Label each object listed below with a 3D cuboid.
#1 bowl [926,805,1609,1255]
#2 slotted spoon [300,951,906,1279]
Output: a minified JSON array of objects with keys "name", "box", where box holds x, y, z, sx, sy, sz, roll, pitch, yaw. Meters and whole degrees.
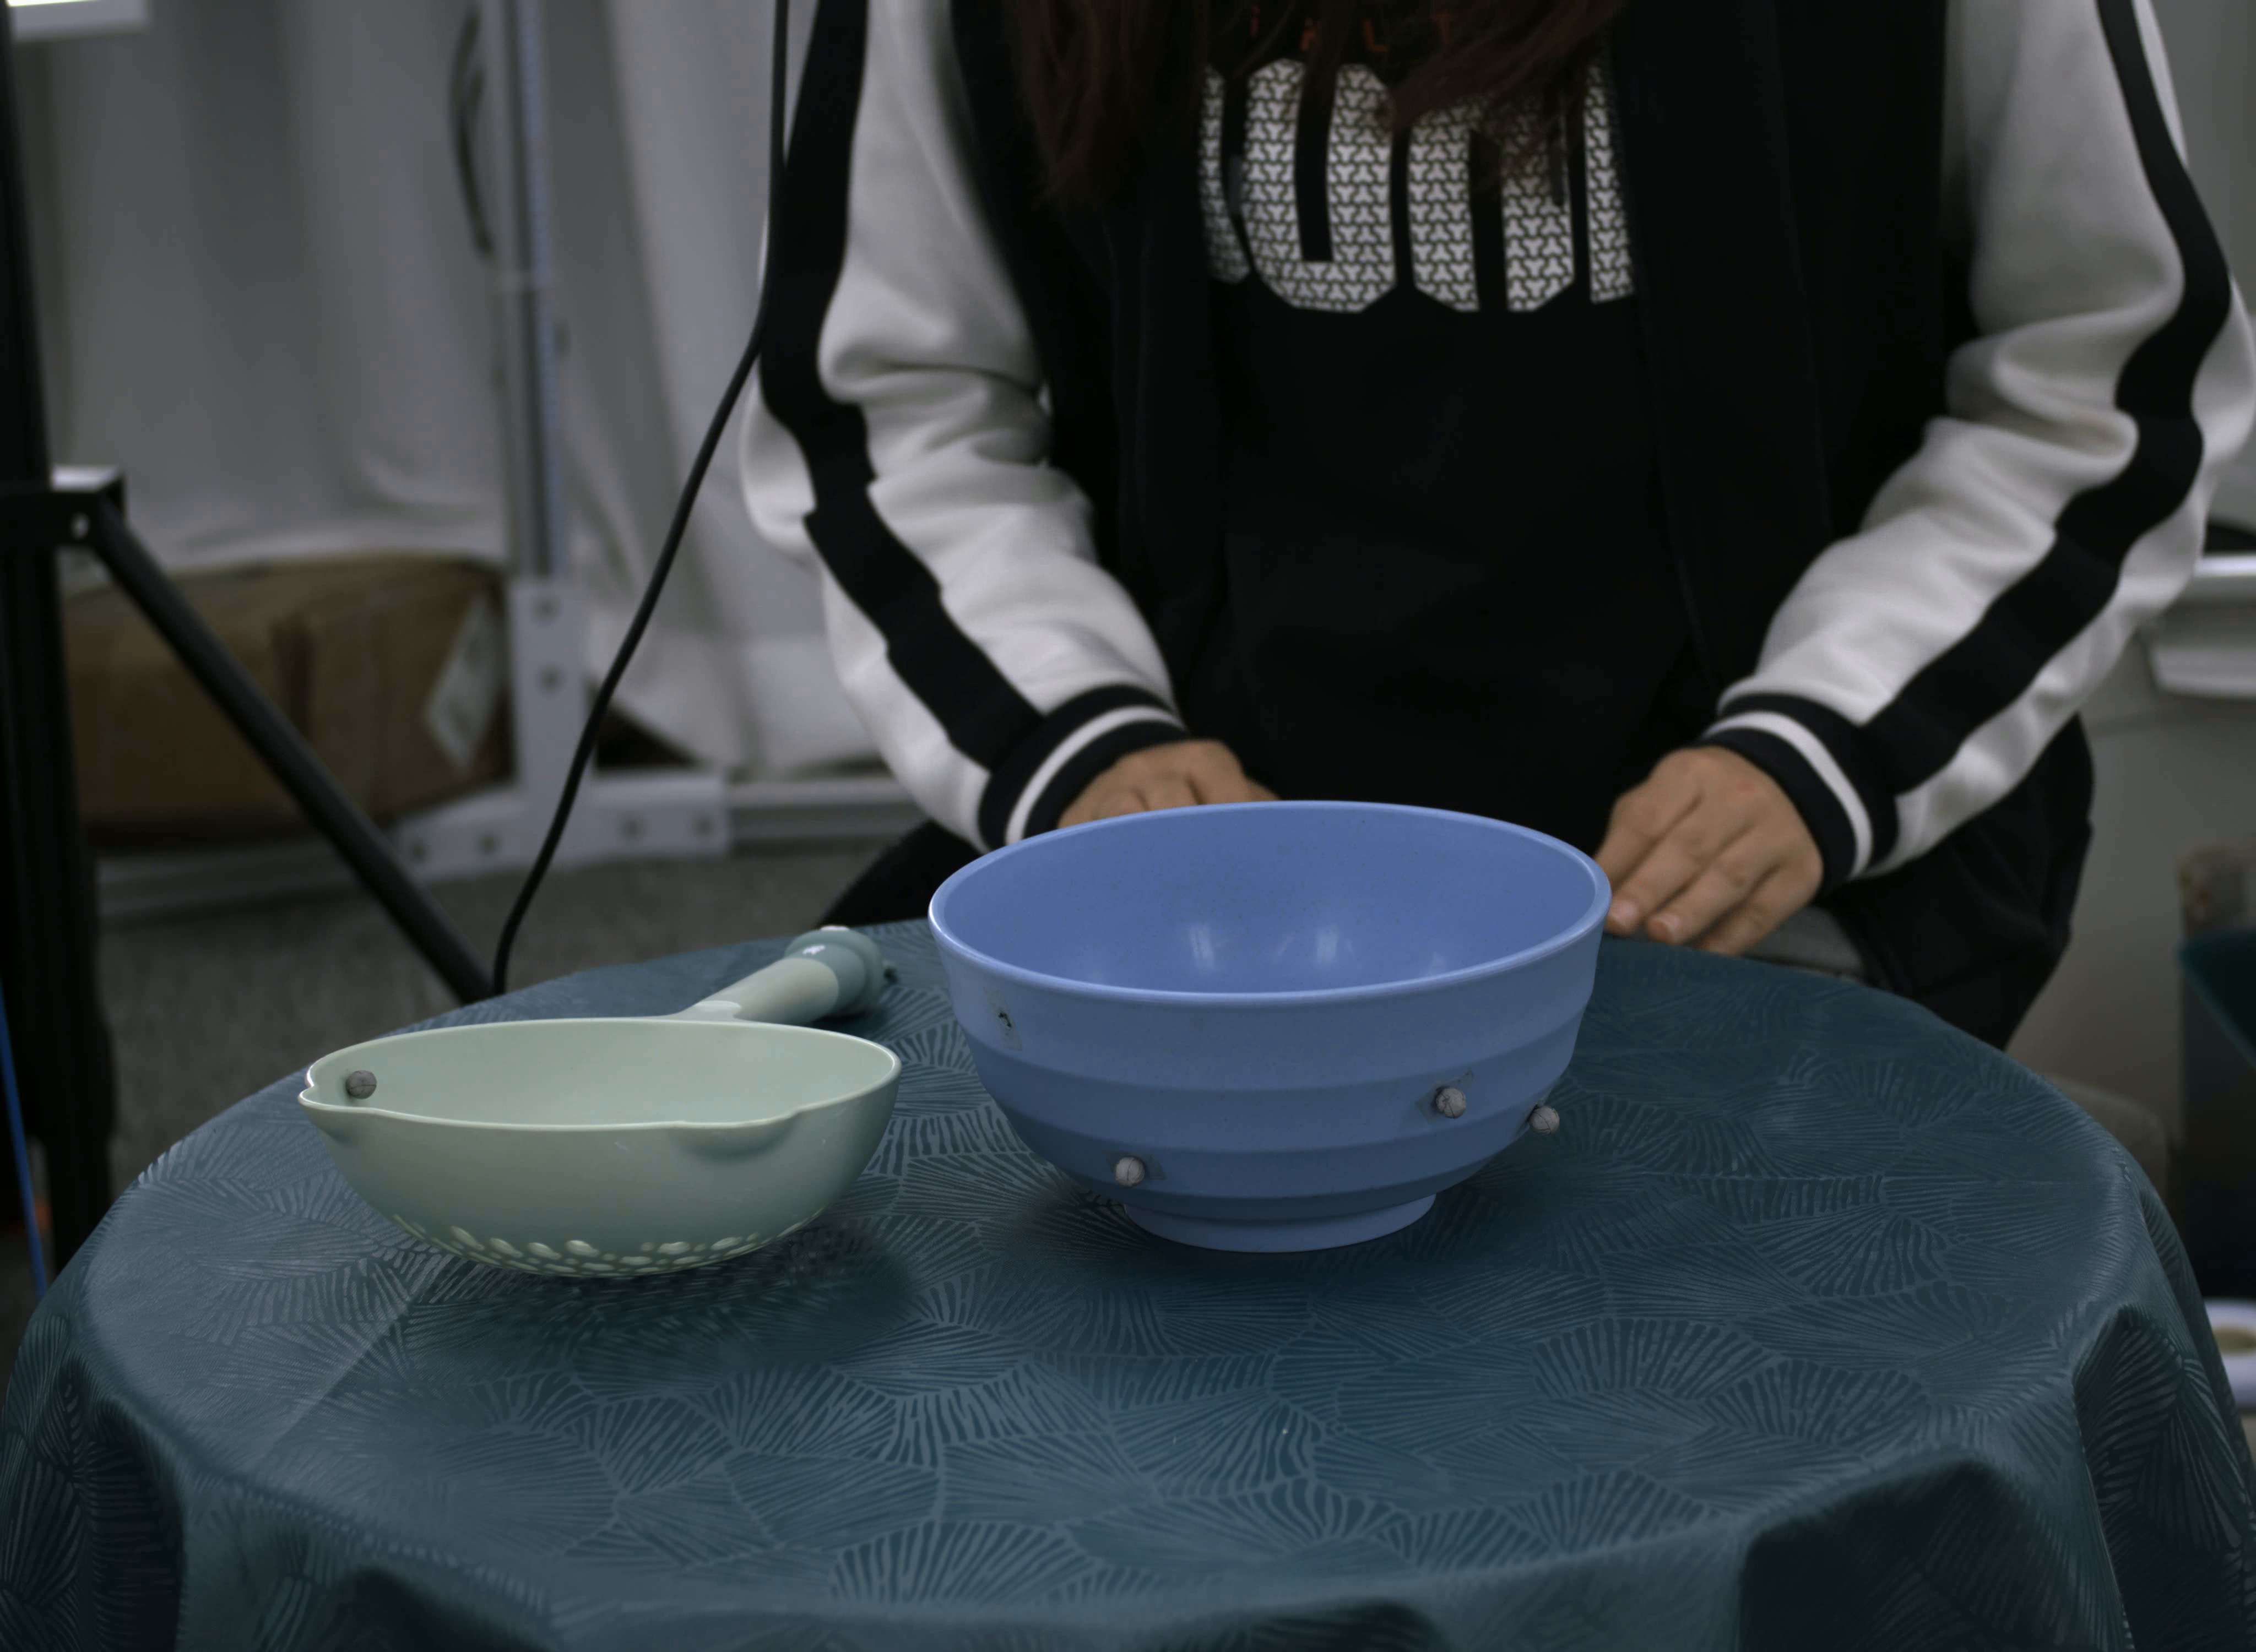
[{"name":"bowl","box":[0.042,0.064,1.533,0.195,0.095,0.197,-3,15,-1]},{"name":"slotted spoon","box":[-0.125,0.071,1.604,0.170,0.075,0.356,2,15,13]}]
